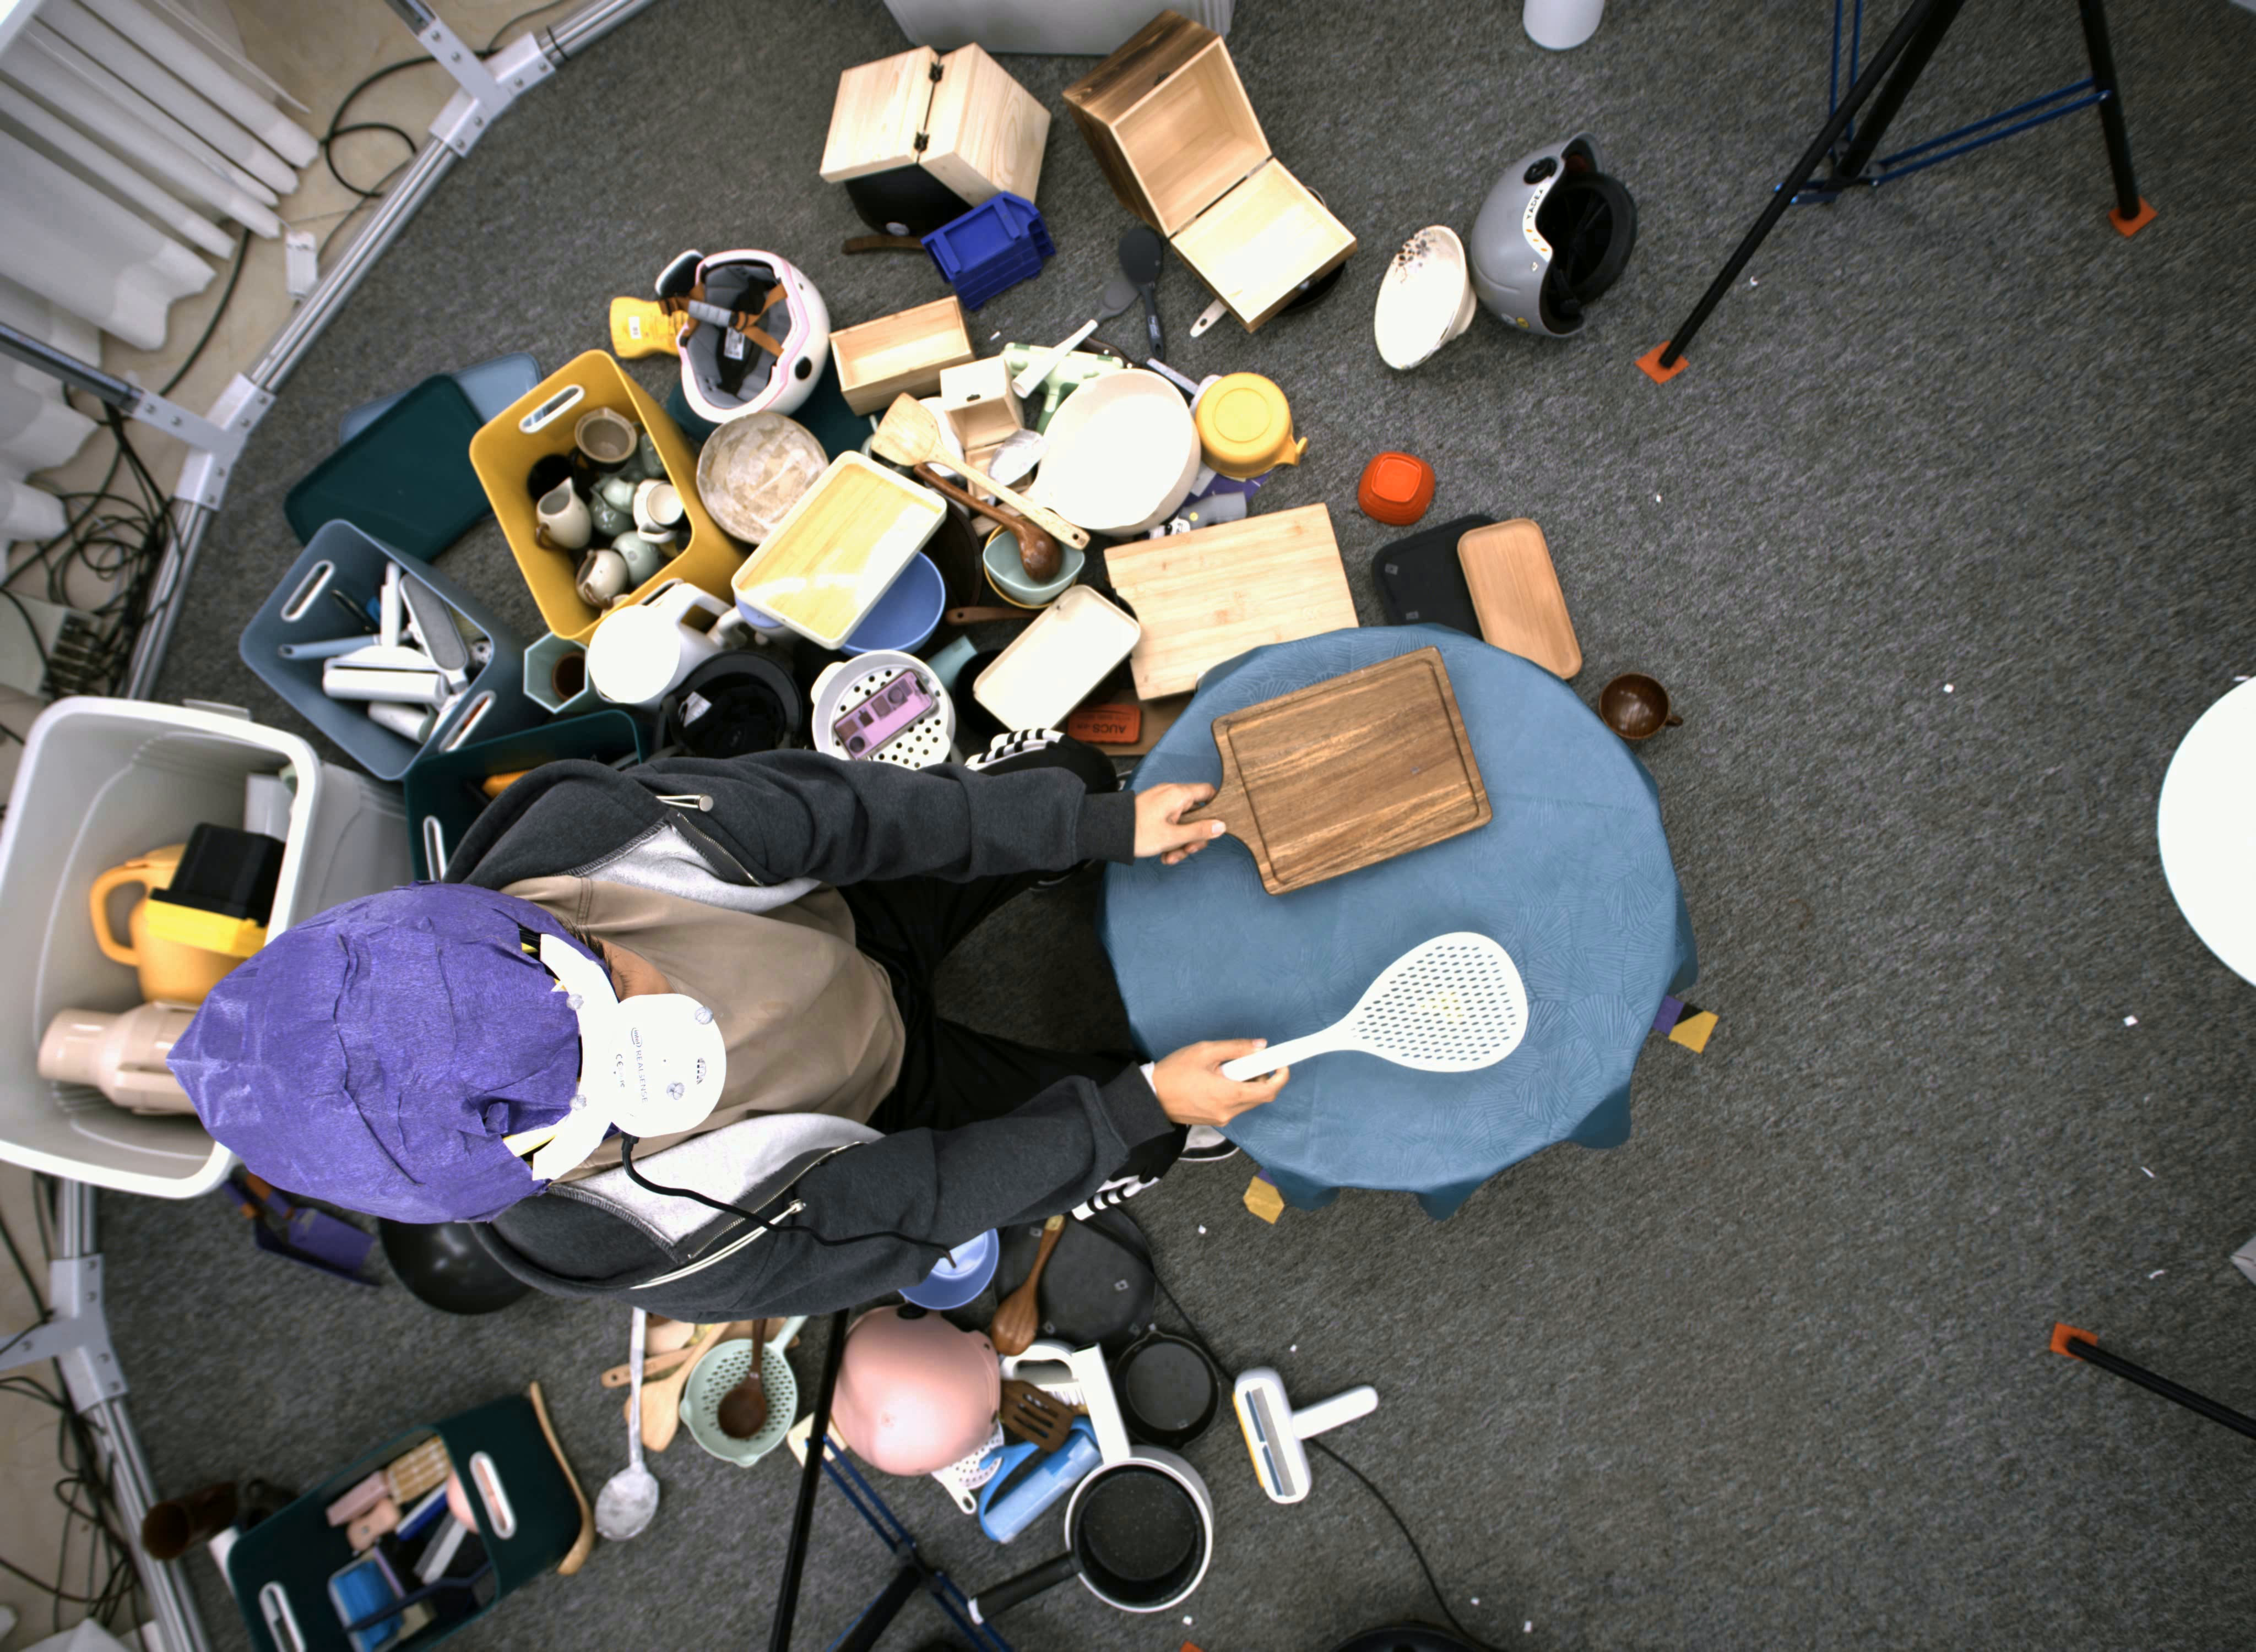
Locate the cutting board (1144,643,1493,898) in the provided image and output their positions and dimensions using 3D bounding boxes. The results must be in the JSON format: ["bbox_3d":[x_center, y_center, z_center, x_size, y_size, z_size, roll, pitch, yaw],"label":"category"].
[{"bbox_3d":[0.184,-0.042,1.426,0.353,0.023,0.202,-19,96,2],"label":"cutting board"}]

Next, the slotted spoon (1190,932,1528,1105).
[{"bbox_3d":[0.224,0.210,1.387,0.349,0.050,0.135,-18,77,4],"label":"slotted spoon"}]
